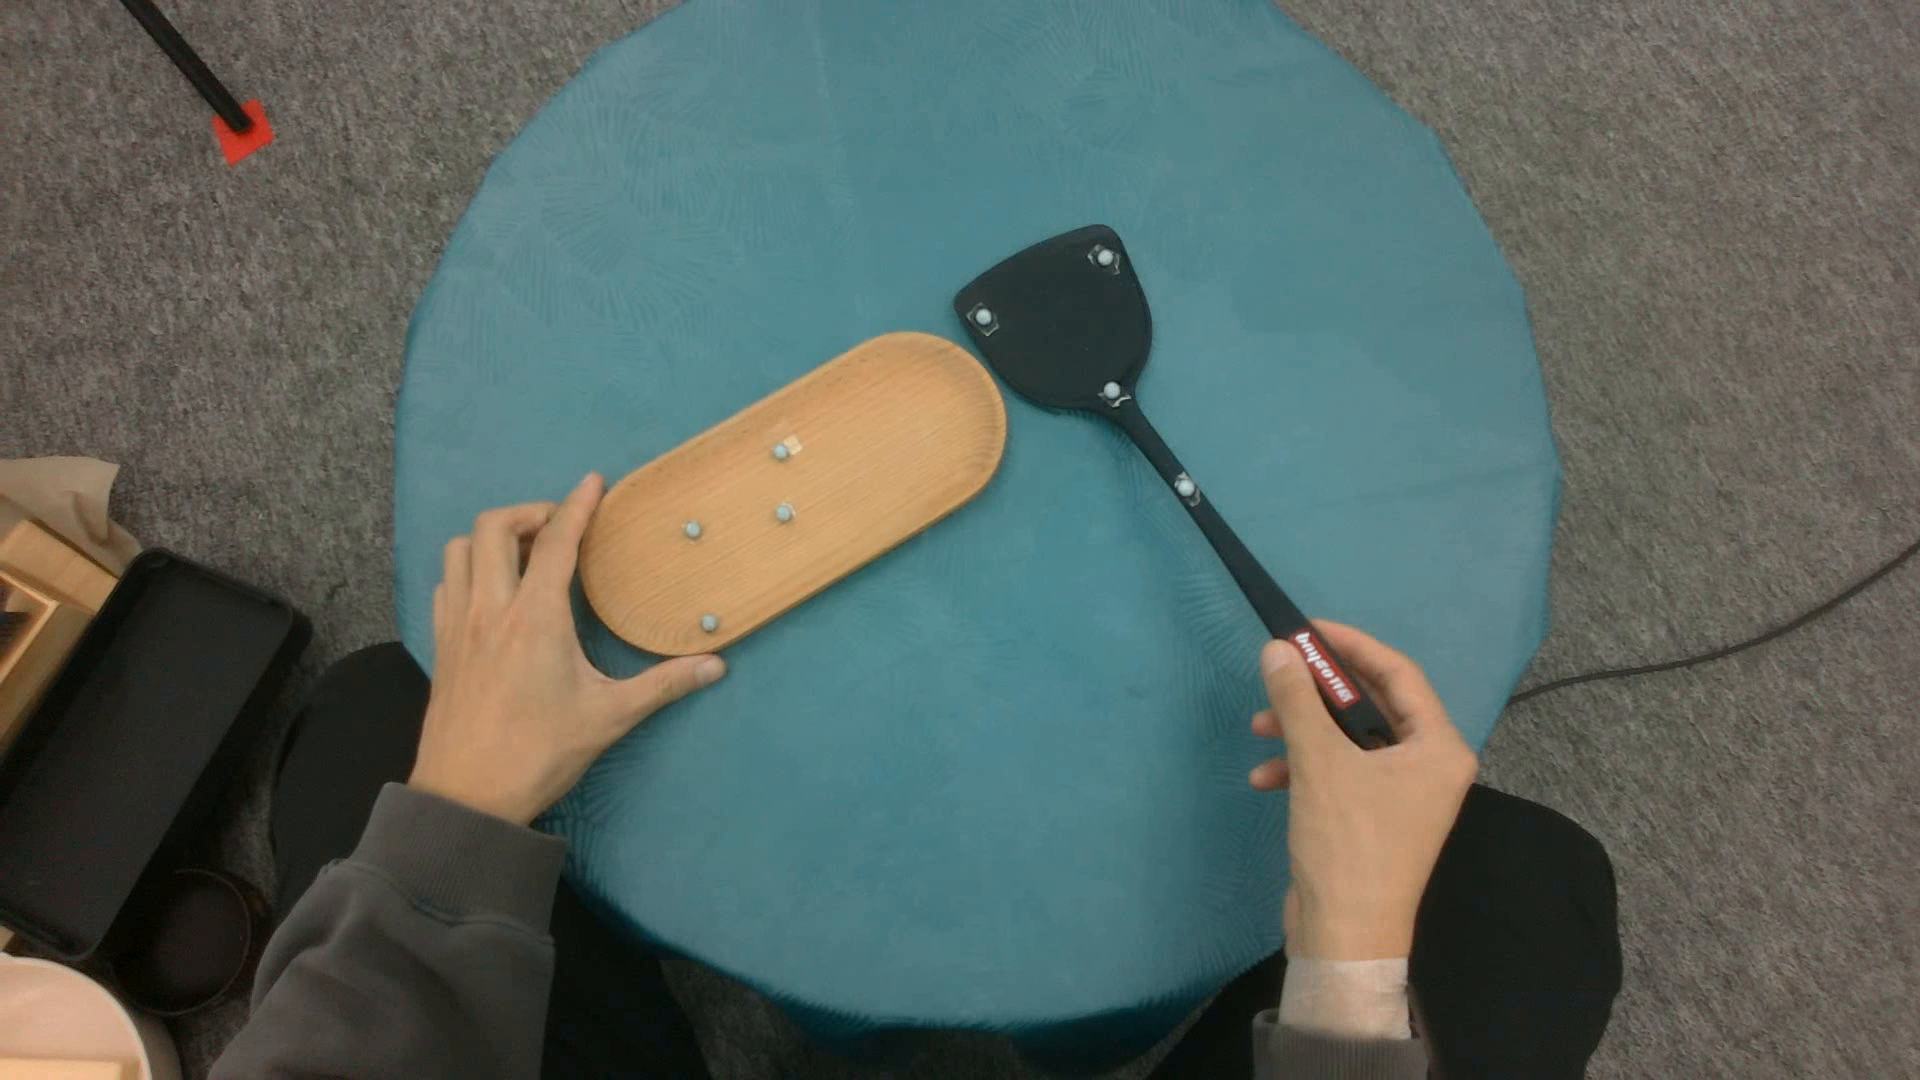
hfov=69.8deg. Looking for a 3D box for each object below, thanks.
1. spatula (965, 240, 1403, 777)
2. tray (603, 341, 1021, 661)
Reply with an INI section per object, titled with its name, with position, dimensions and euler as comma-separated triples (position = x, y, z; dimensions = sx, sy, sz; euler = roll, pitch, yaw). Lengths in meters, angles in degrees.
[spatula]
position = 0.116, -0.022, 0.676
dimensions = 0.100, 0.040, 0.327
euler = -28, 58, -6
[tray]
position = -0.074, -0.021, 0.711
dimensions = 0.231, 0.020, 0.102
euler = -31, 77, -10
